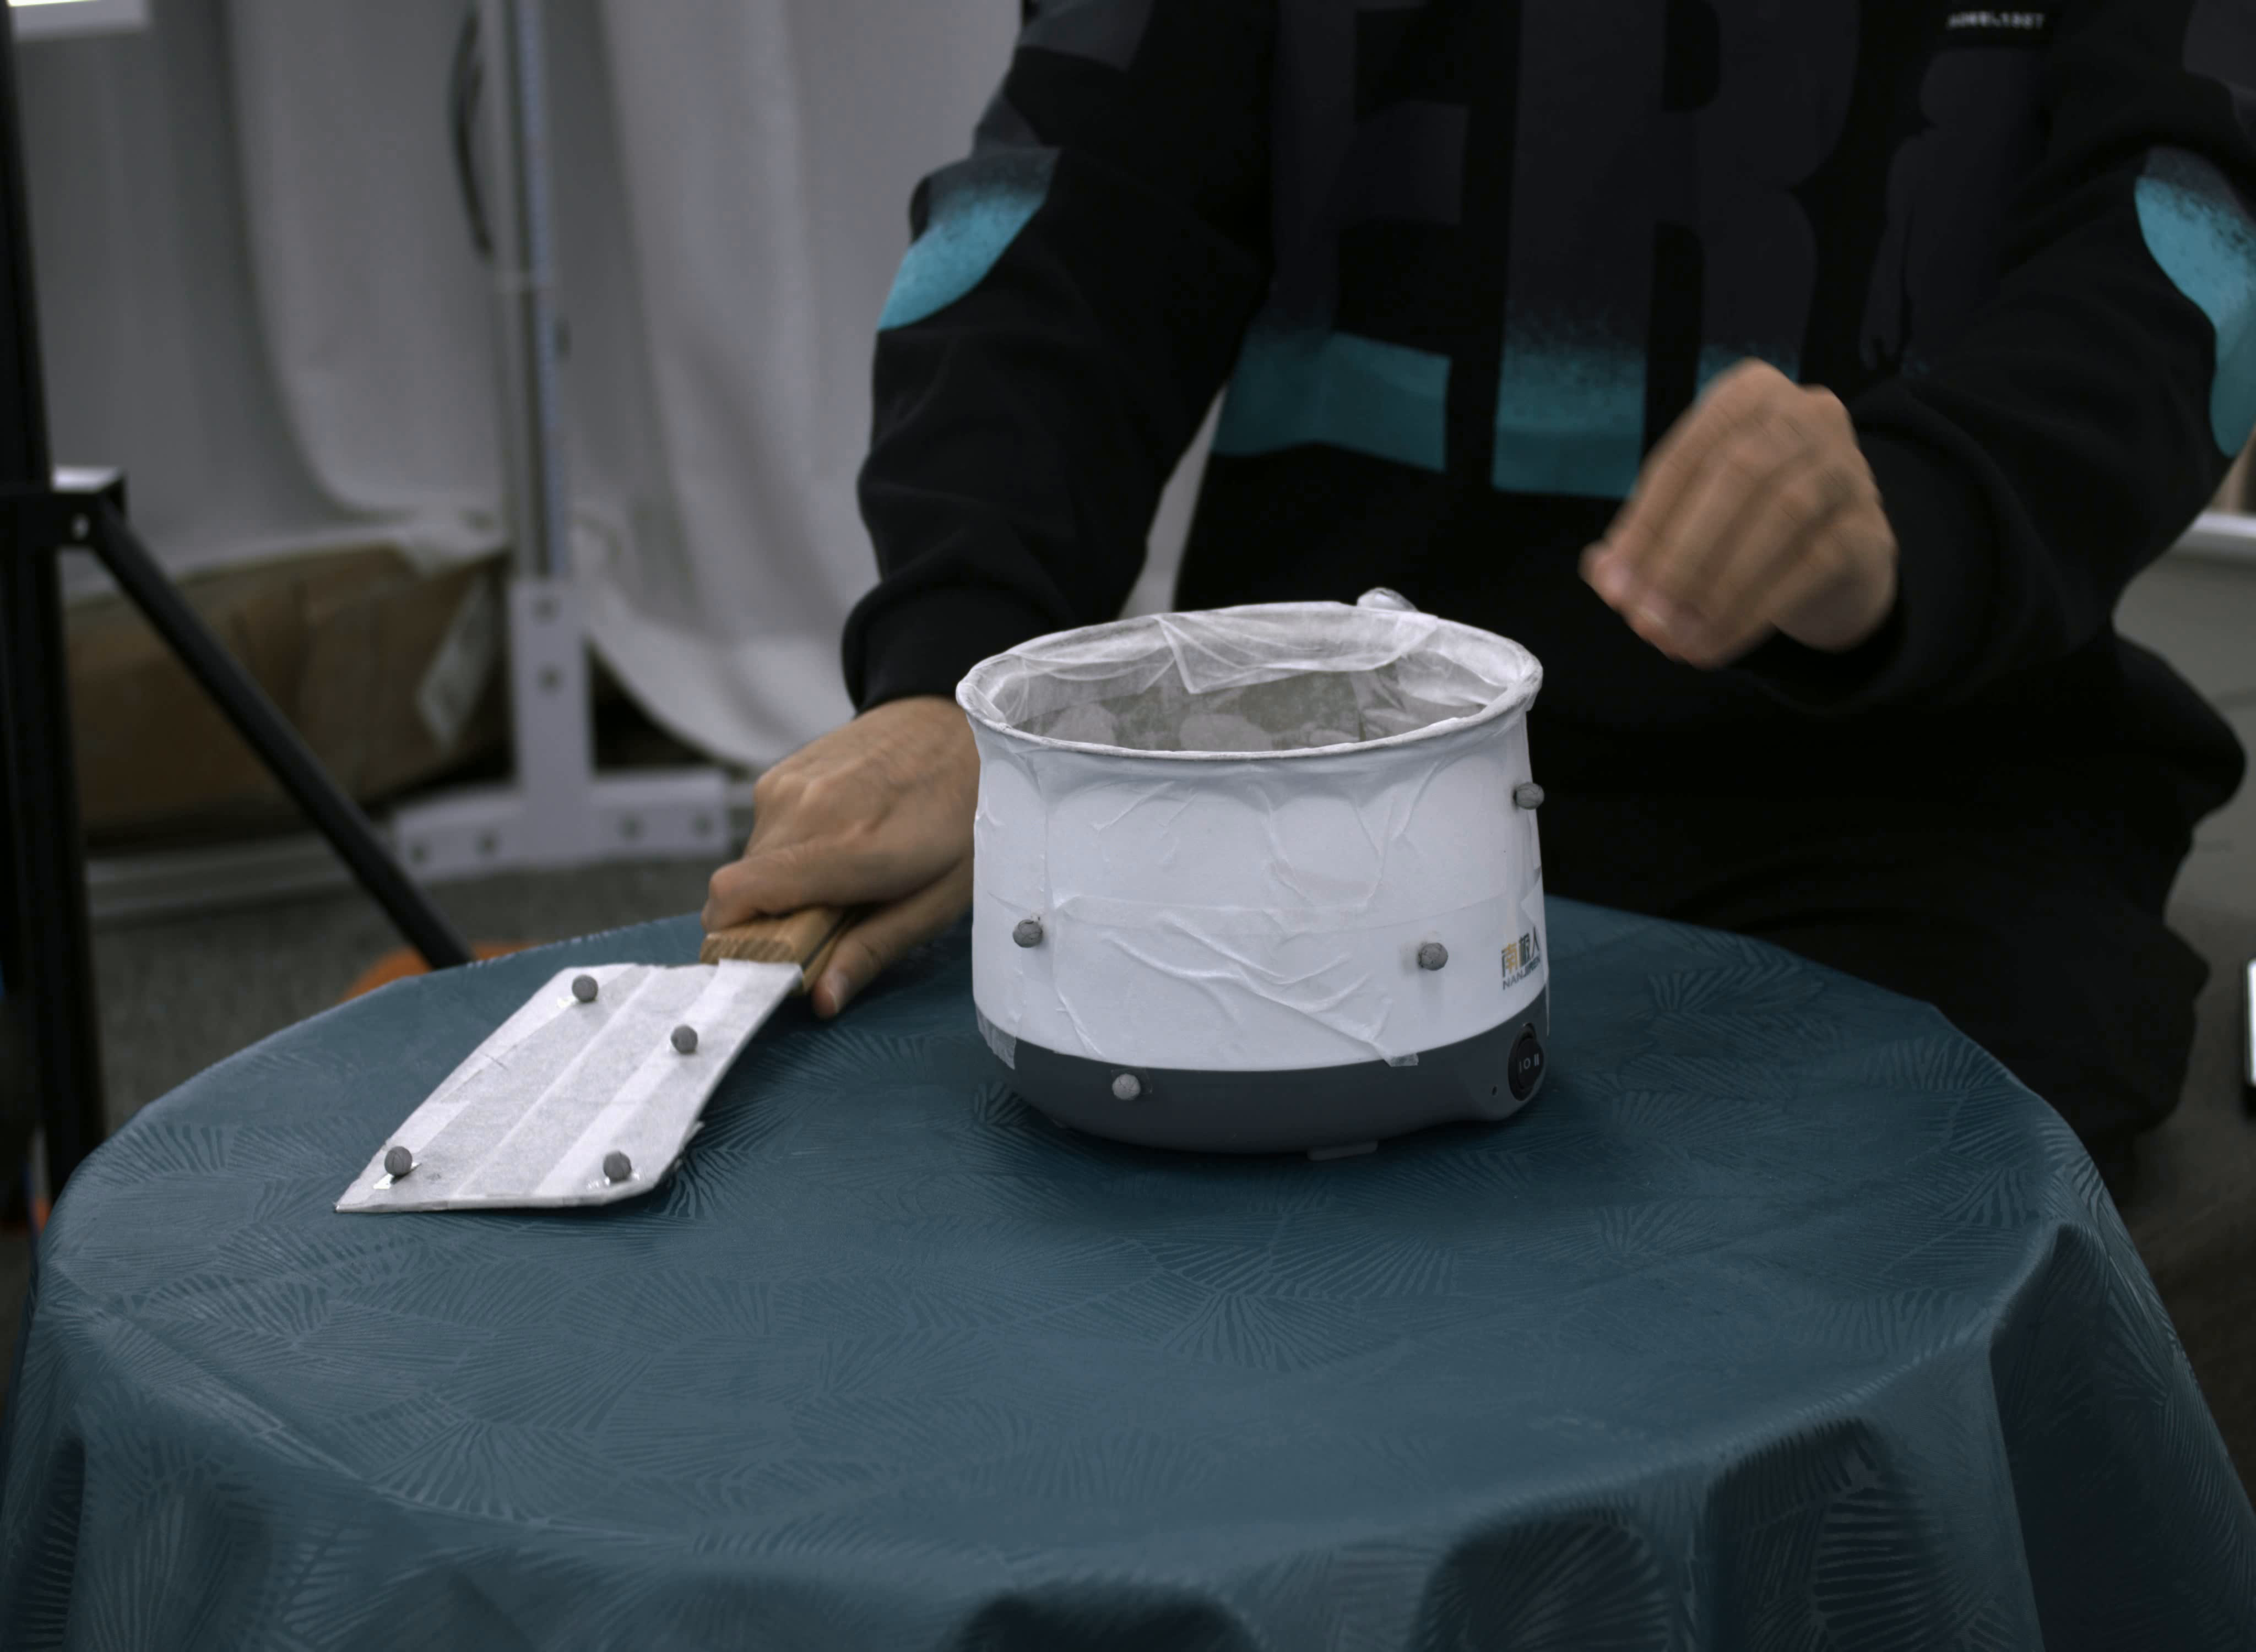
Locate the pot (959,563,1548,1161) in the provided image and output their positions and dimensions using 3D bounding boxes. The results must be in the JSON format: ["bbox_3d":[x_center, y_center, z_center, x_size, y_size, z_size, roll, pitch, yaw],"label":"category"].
[{"bbox_3d":[0.051,0.005,1.644,0.181,0.136,0.230,6,21,26],"label":"pot"}]

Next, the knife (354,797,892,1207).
[{"bbox_3d":[-0.143,0.056,1.697,0.115,0.021,0.312,-2,21,22],"label":"knife"}]
